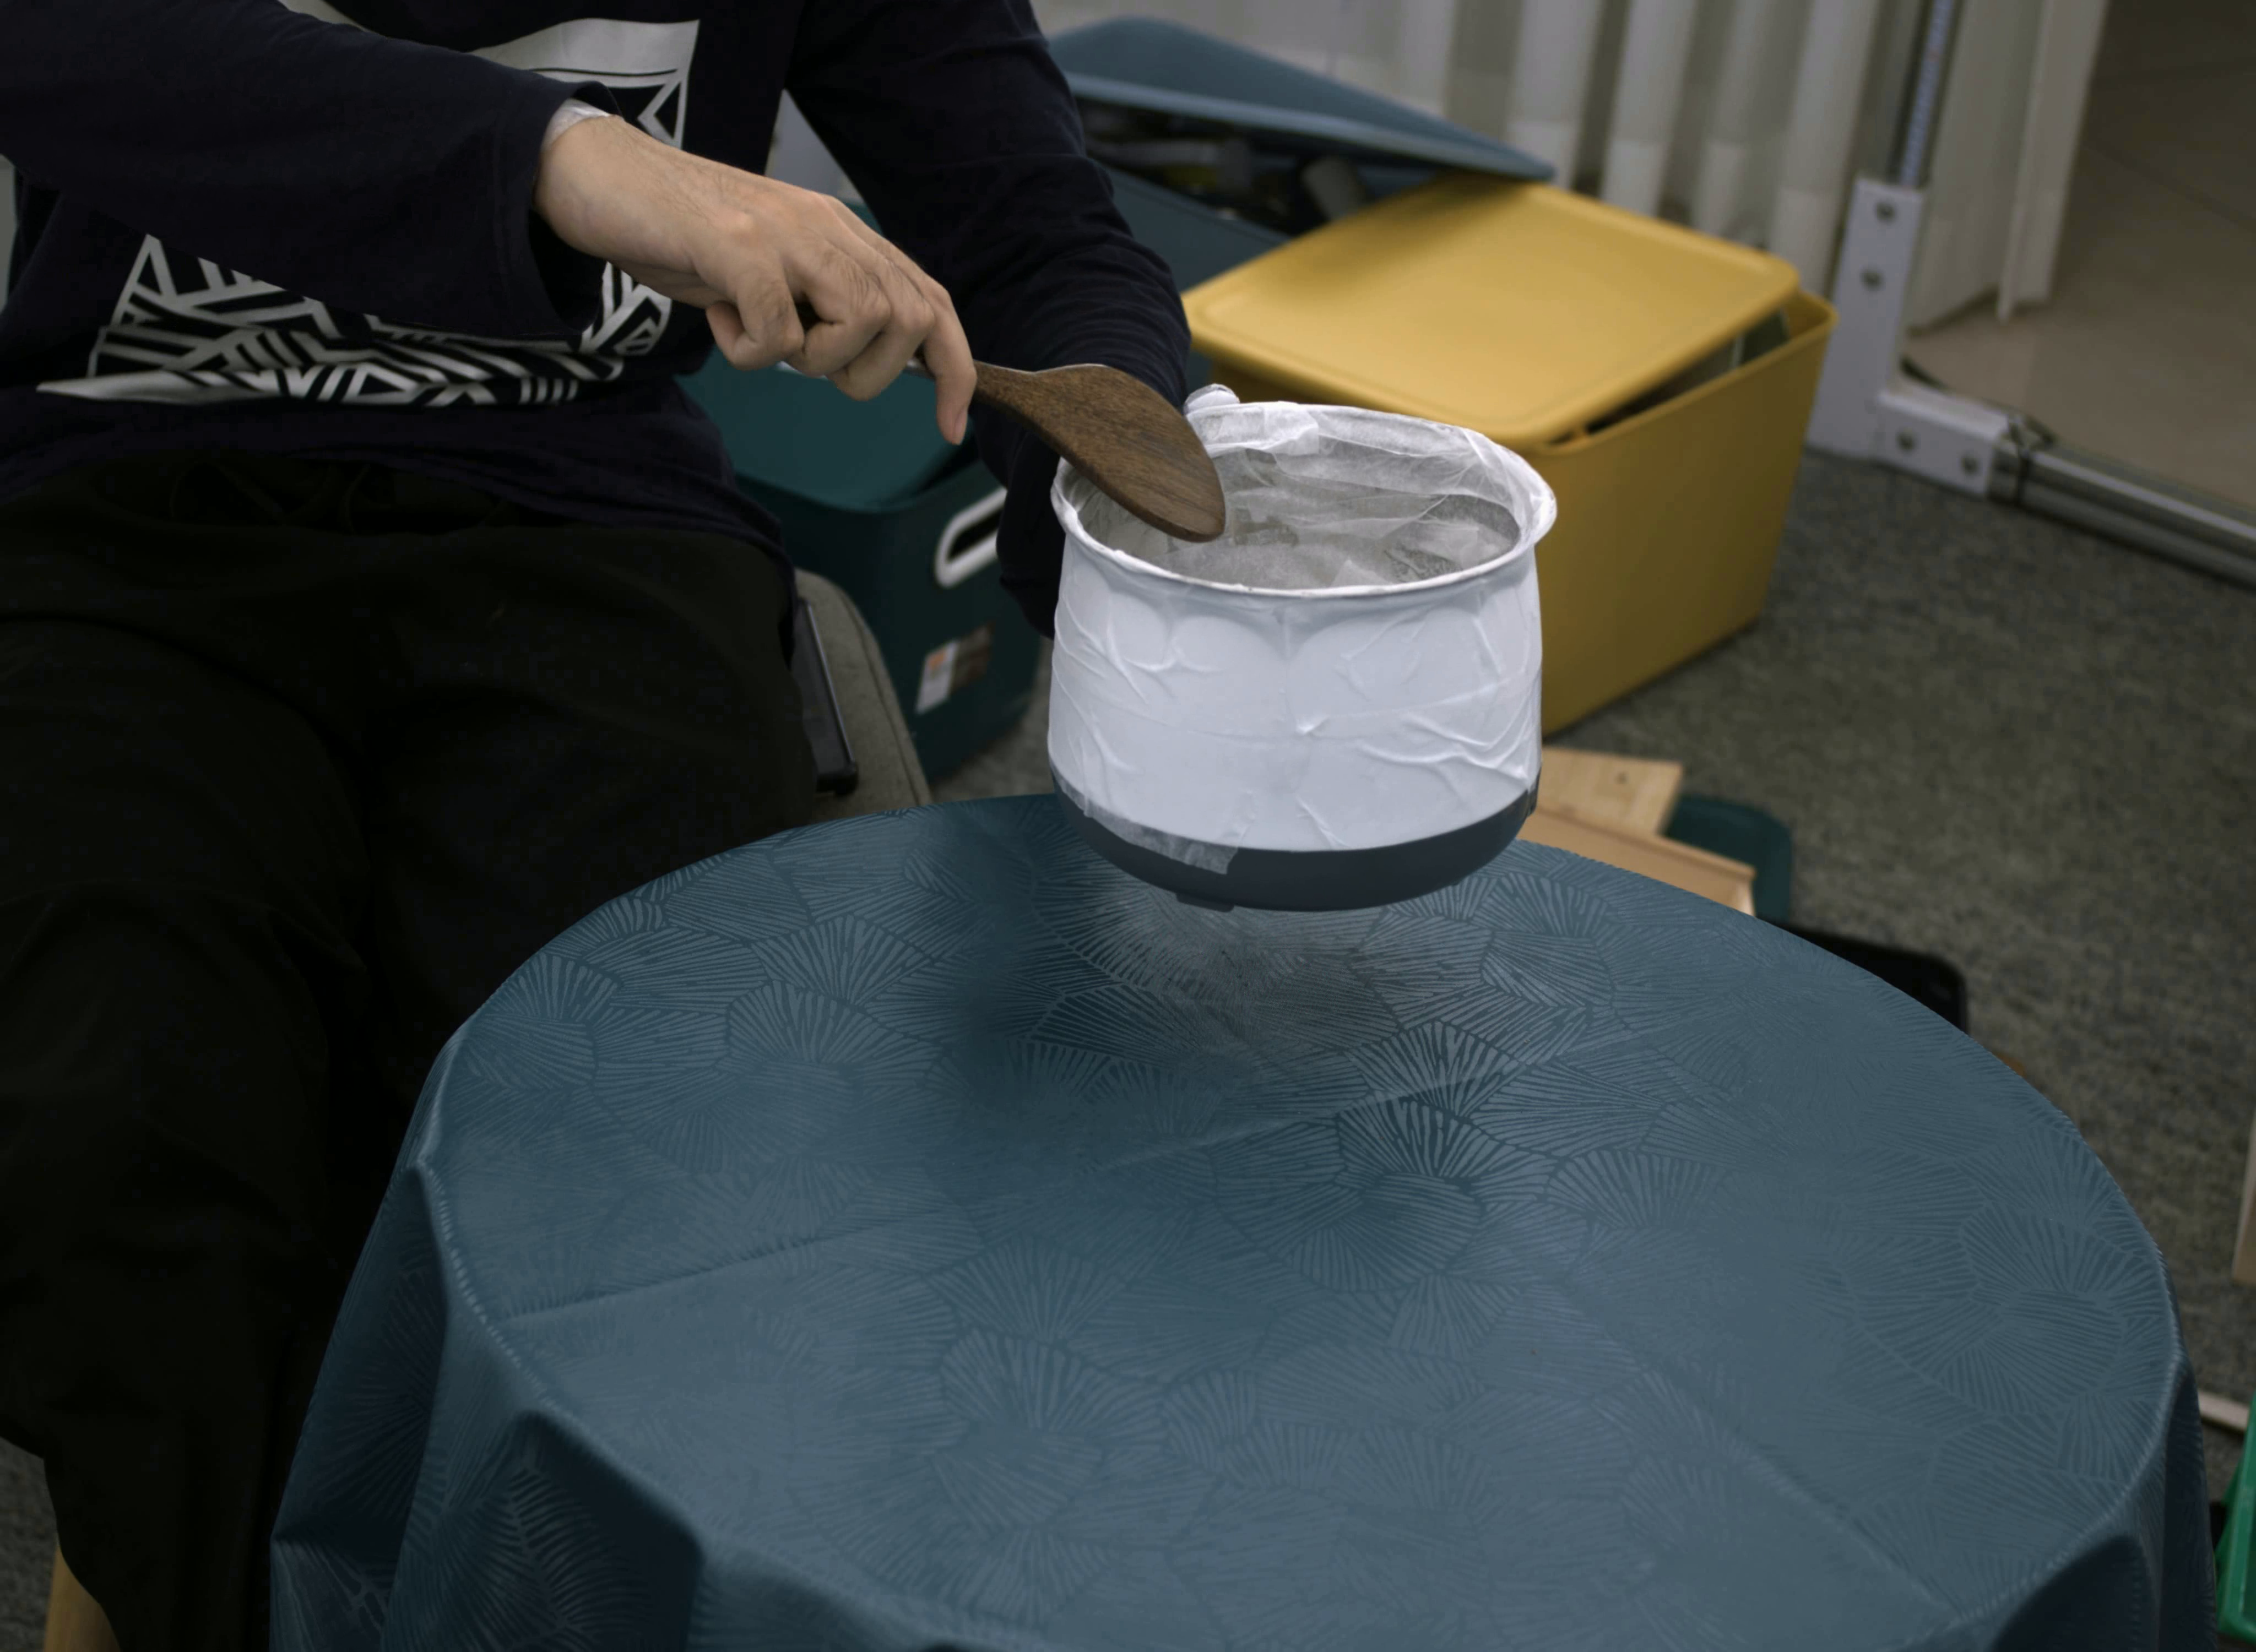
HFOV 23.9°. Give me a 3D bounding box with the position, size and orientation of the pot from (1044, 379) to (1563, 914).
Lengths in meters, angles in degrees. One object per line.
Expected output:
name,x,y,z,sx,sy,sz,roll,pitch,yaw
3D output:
pot,0.051,-0.070,1.913,0.177,0.136,0.236,-5,27,-18

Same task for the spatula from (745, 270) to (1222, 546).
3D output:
spatula,-0.048,-0.152,1.854,0.214,0.009,0.072,22,38,-34
